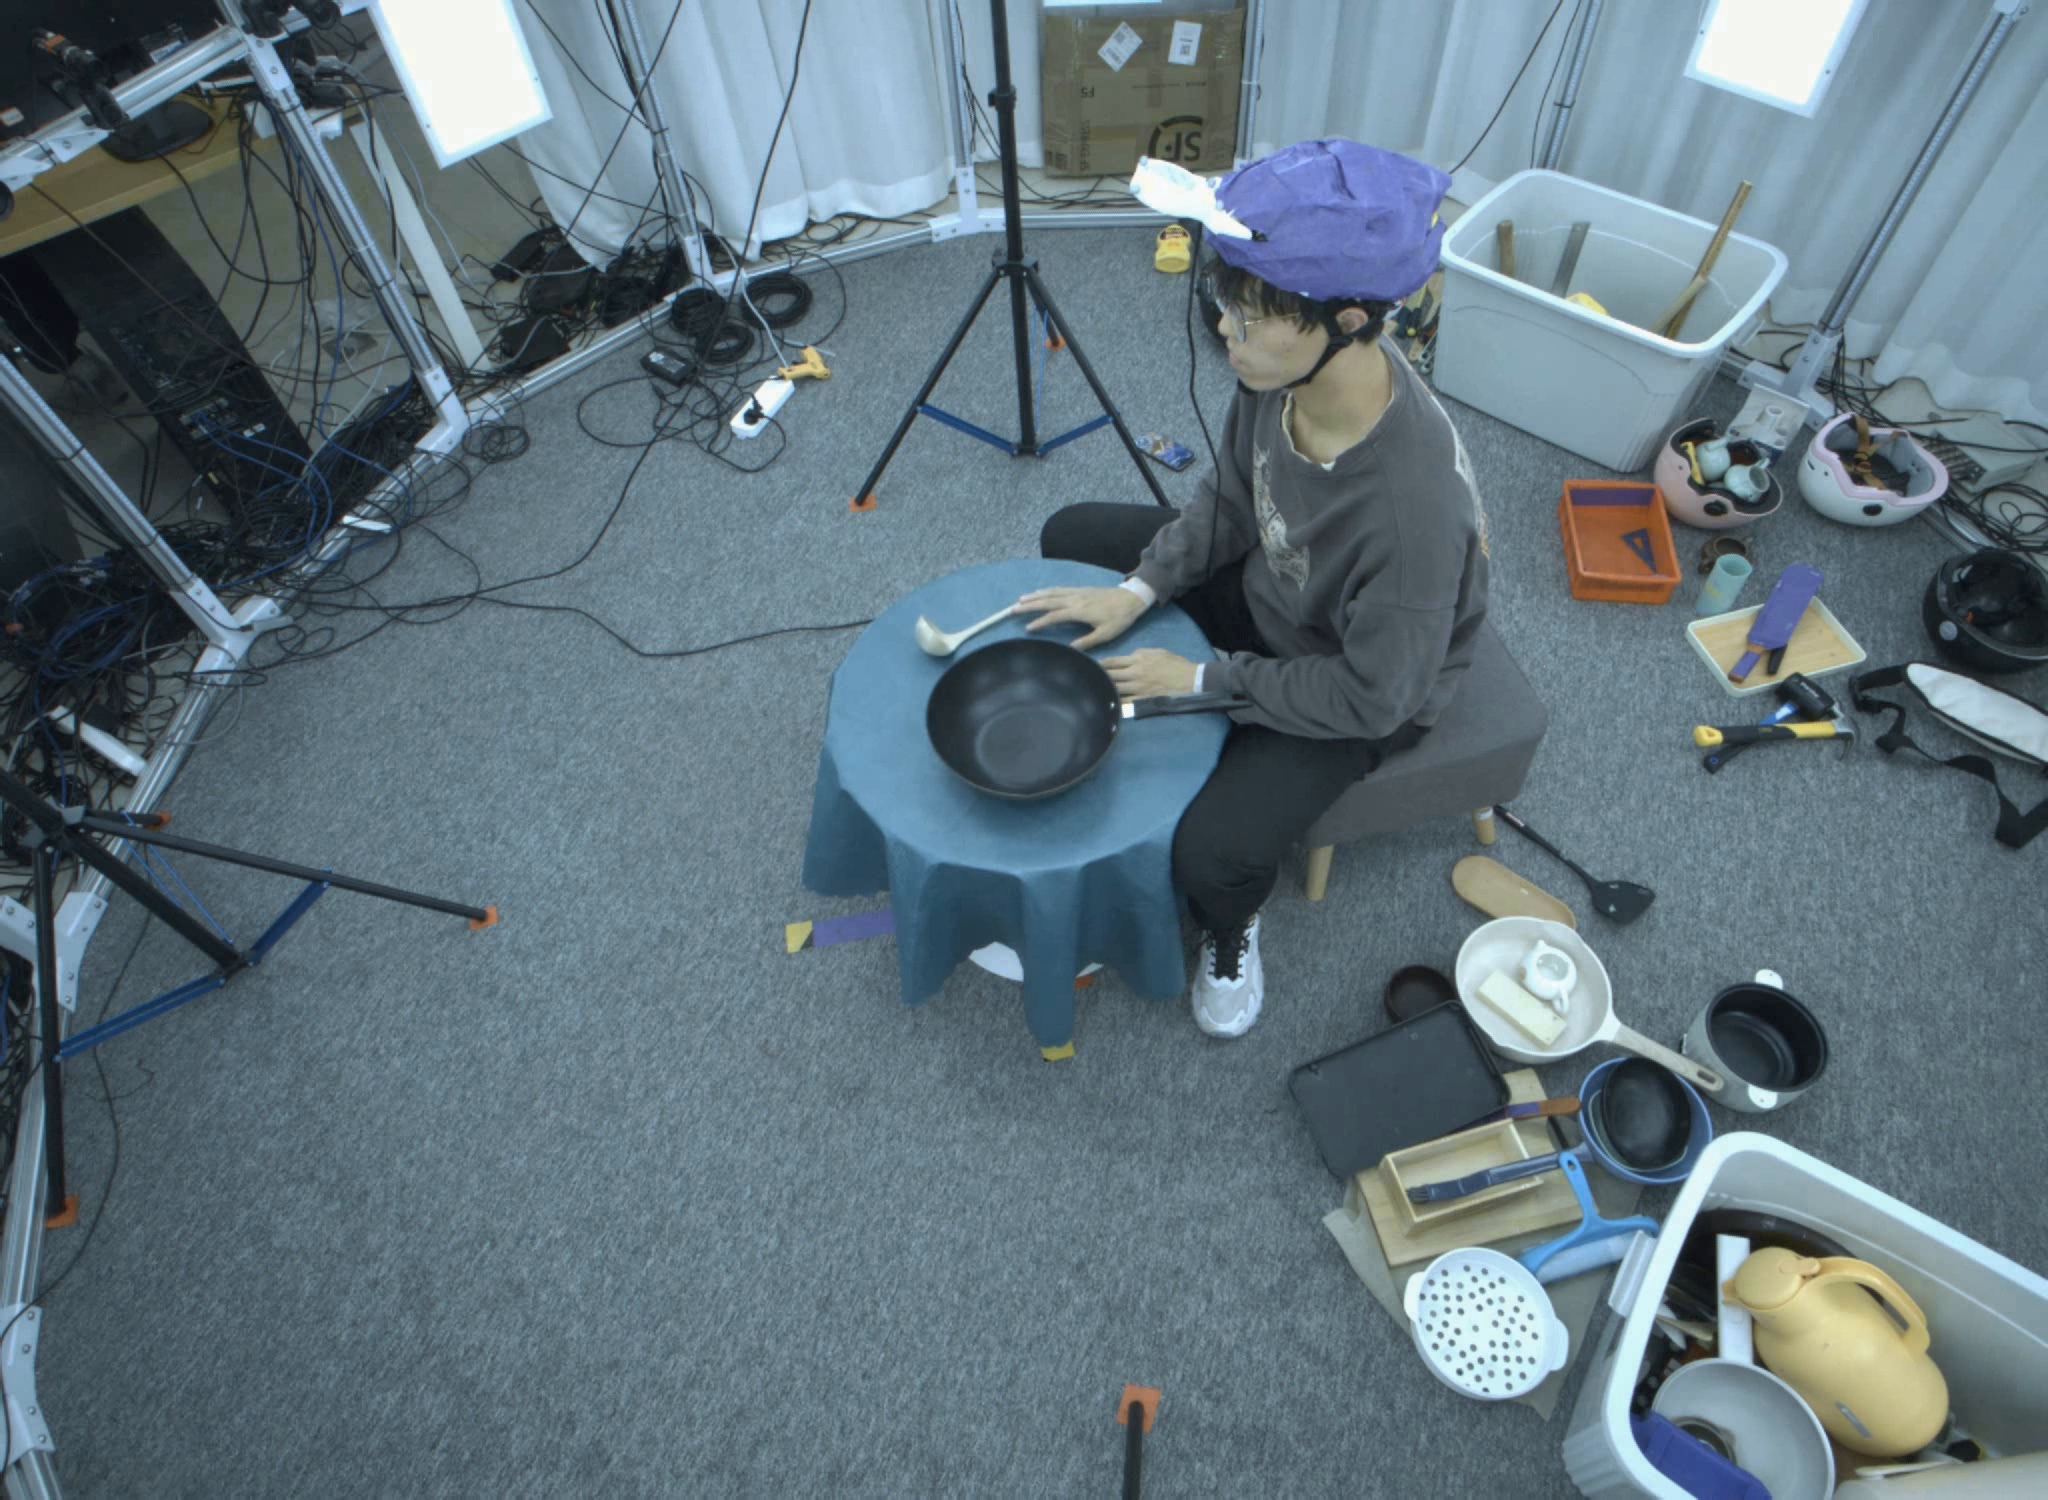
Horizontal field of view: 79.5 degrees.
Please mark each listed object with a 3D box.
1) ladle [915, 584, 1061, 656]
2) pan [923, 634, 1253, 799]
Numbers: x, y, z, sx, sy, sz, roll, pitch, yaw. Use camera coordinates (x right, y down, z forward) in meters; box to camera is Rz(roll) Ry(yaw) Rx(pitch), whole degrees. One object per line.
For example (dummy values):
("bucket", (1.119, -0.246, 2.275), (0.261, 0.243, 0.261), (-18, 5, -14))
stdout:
("ladle", (-0.052, -0.226, 1.904), (0.256, 0.074, 0.070), (-30, 54, -18))
("pan", (0.091, -0.038, 1.758), (0.464, 0.088, 0.285), (-2, 54, -1))
